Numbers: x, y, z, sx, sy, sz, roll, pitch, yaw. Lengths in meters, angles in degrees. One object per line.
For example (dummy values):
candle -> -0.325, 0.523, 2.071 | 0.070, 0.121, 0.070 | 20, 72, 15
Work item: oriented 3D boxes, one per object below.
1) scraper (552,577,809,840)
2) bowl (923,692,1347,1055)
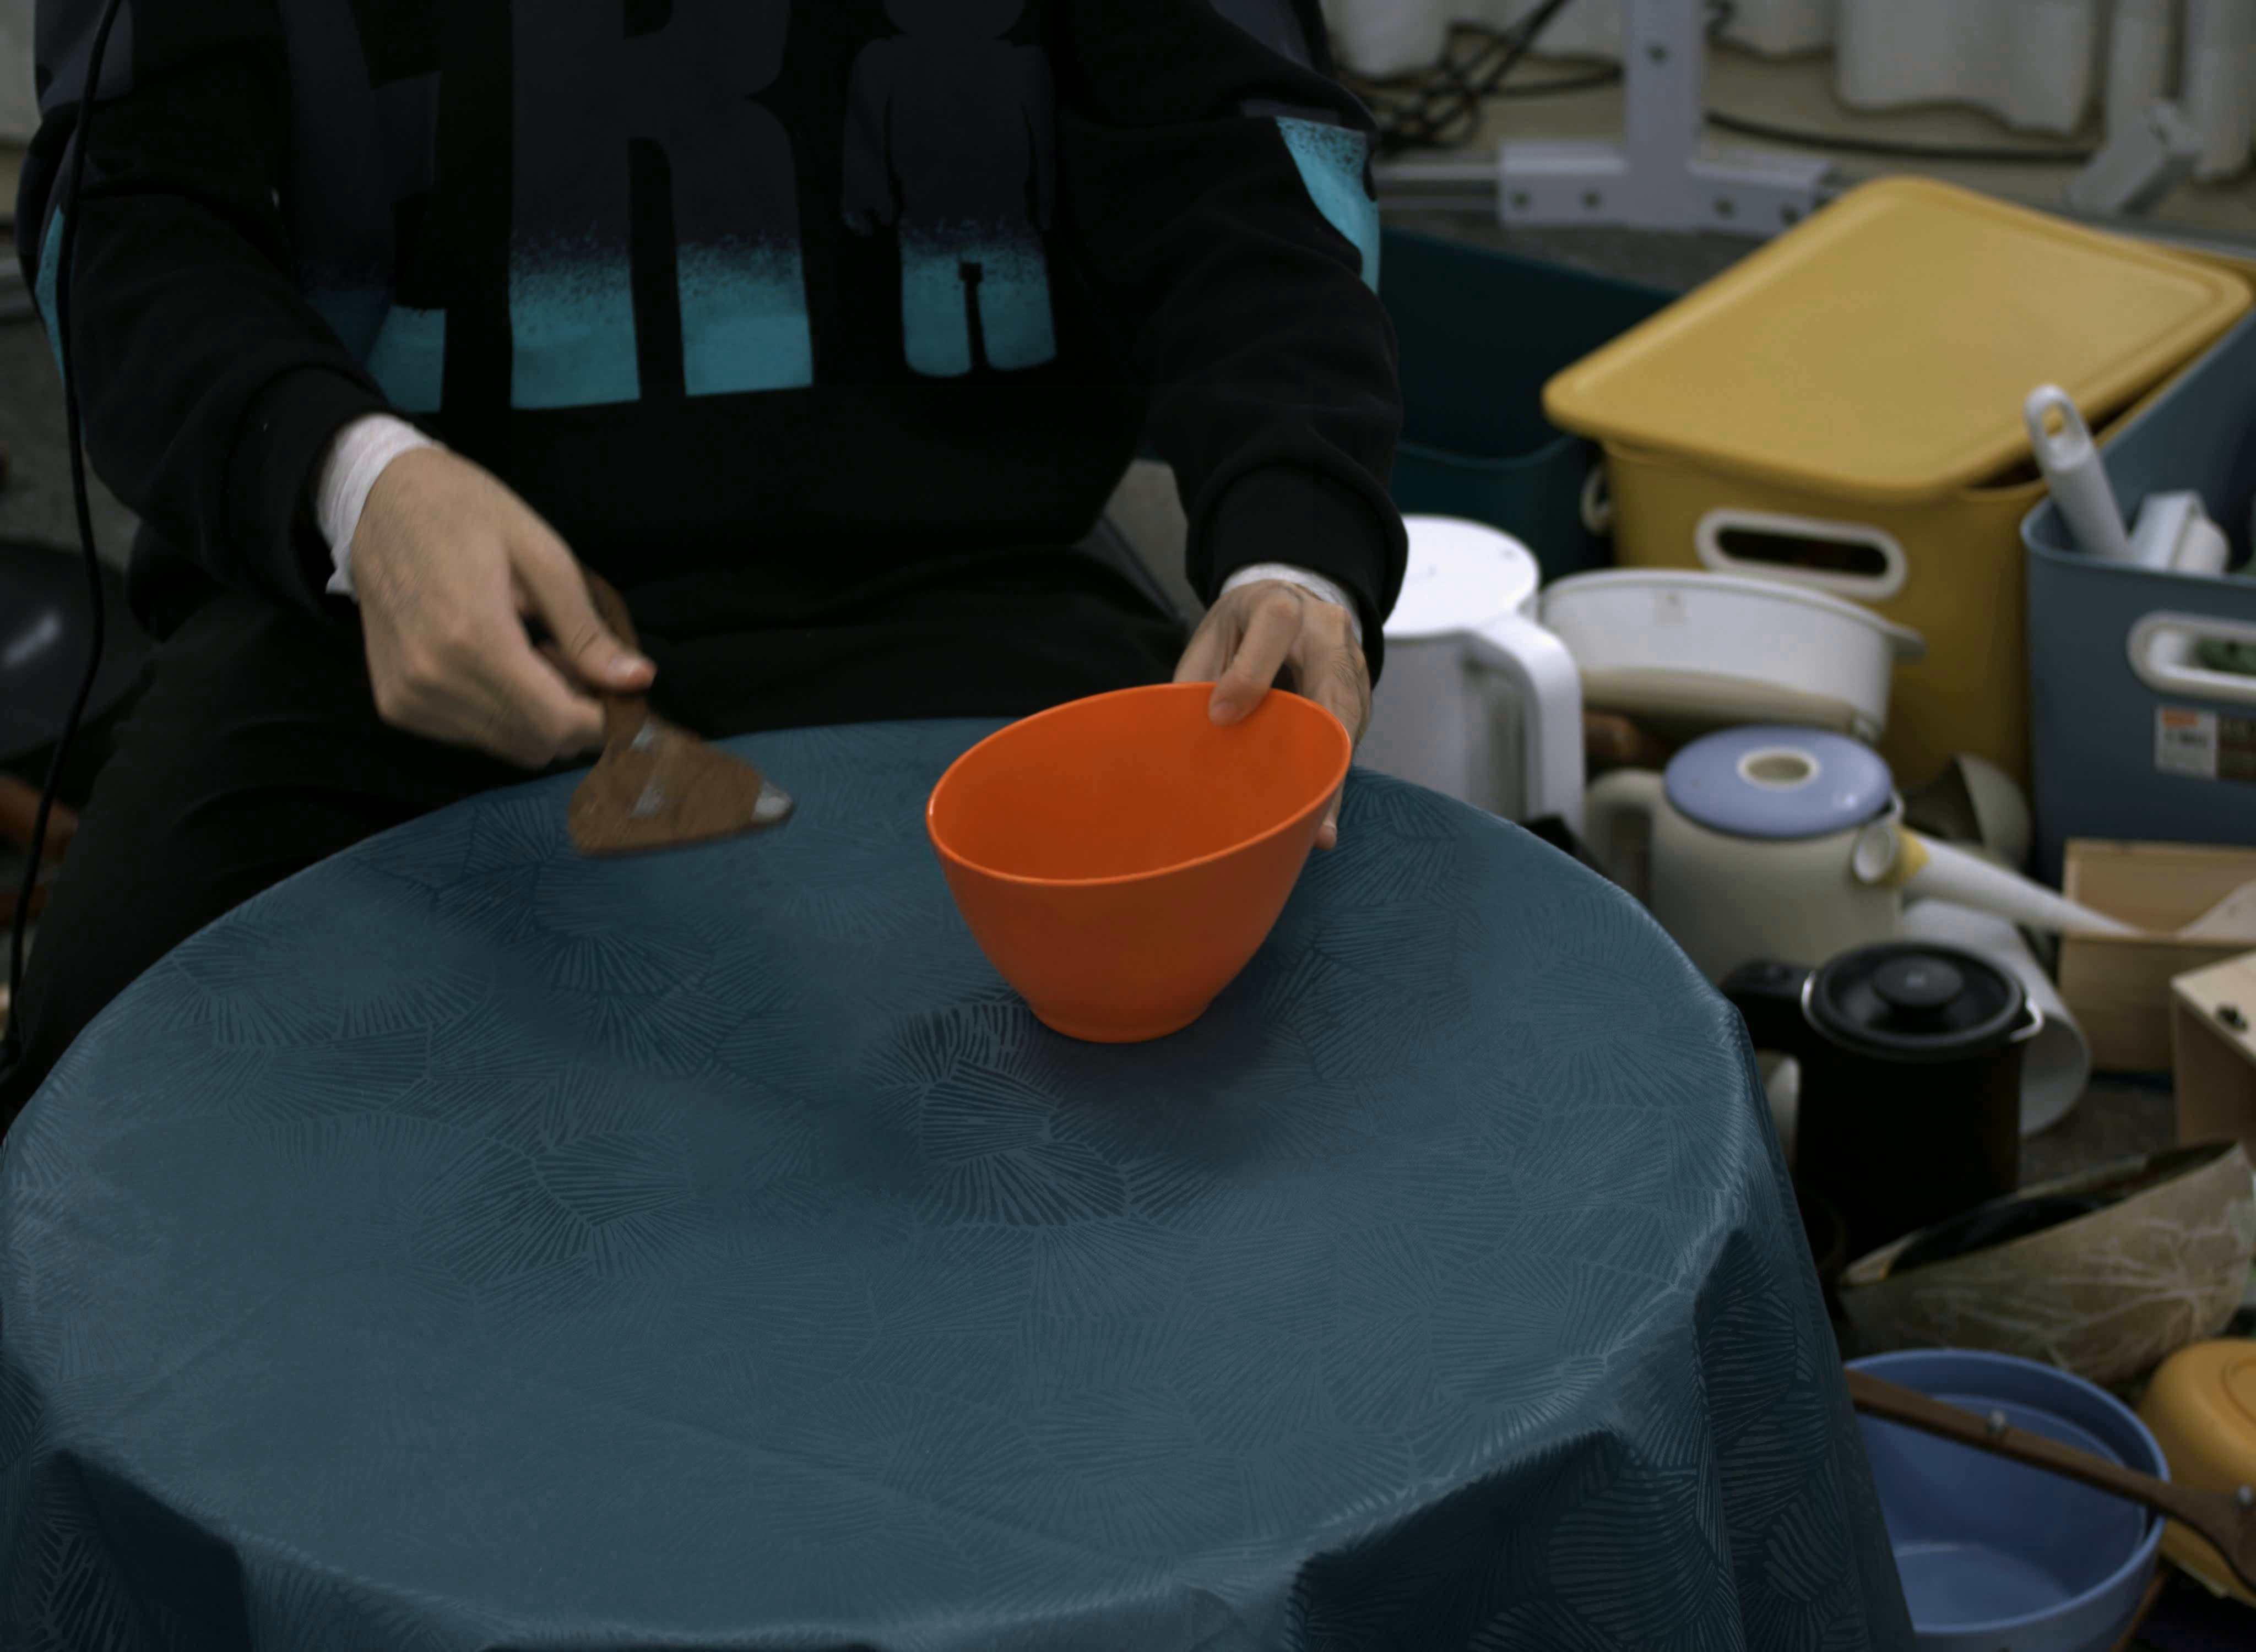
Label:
scraper -> -0.167, -0.042, 1.941 | 0.076, 0.011, 0.213 | -10, 28, -13
bowl -> 0.004, 0.022, 1.945 | 0.147, 0.103, 0.150 | -3, 29, 2
